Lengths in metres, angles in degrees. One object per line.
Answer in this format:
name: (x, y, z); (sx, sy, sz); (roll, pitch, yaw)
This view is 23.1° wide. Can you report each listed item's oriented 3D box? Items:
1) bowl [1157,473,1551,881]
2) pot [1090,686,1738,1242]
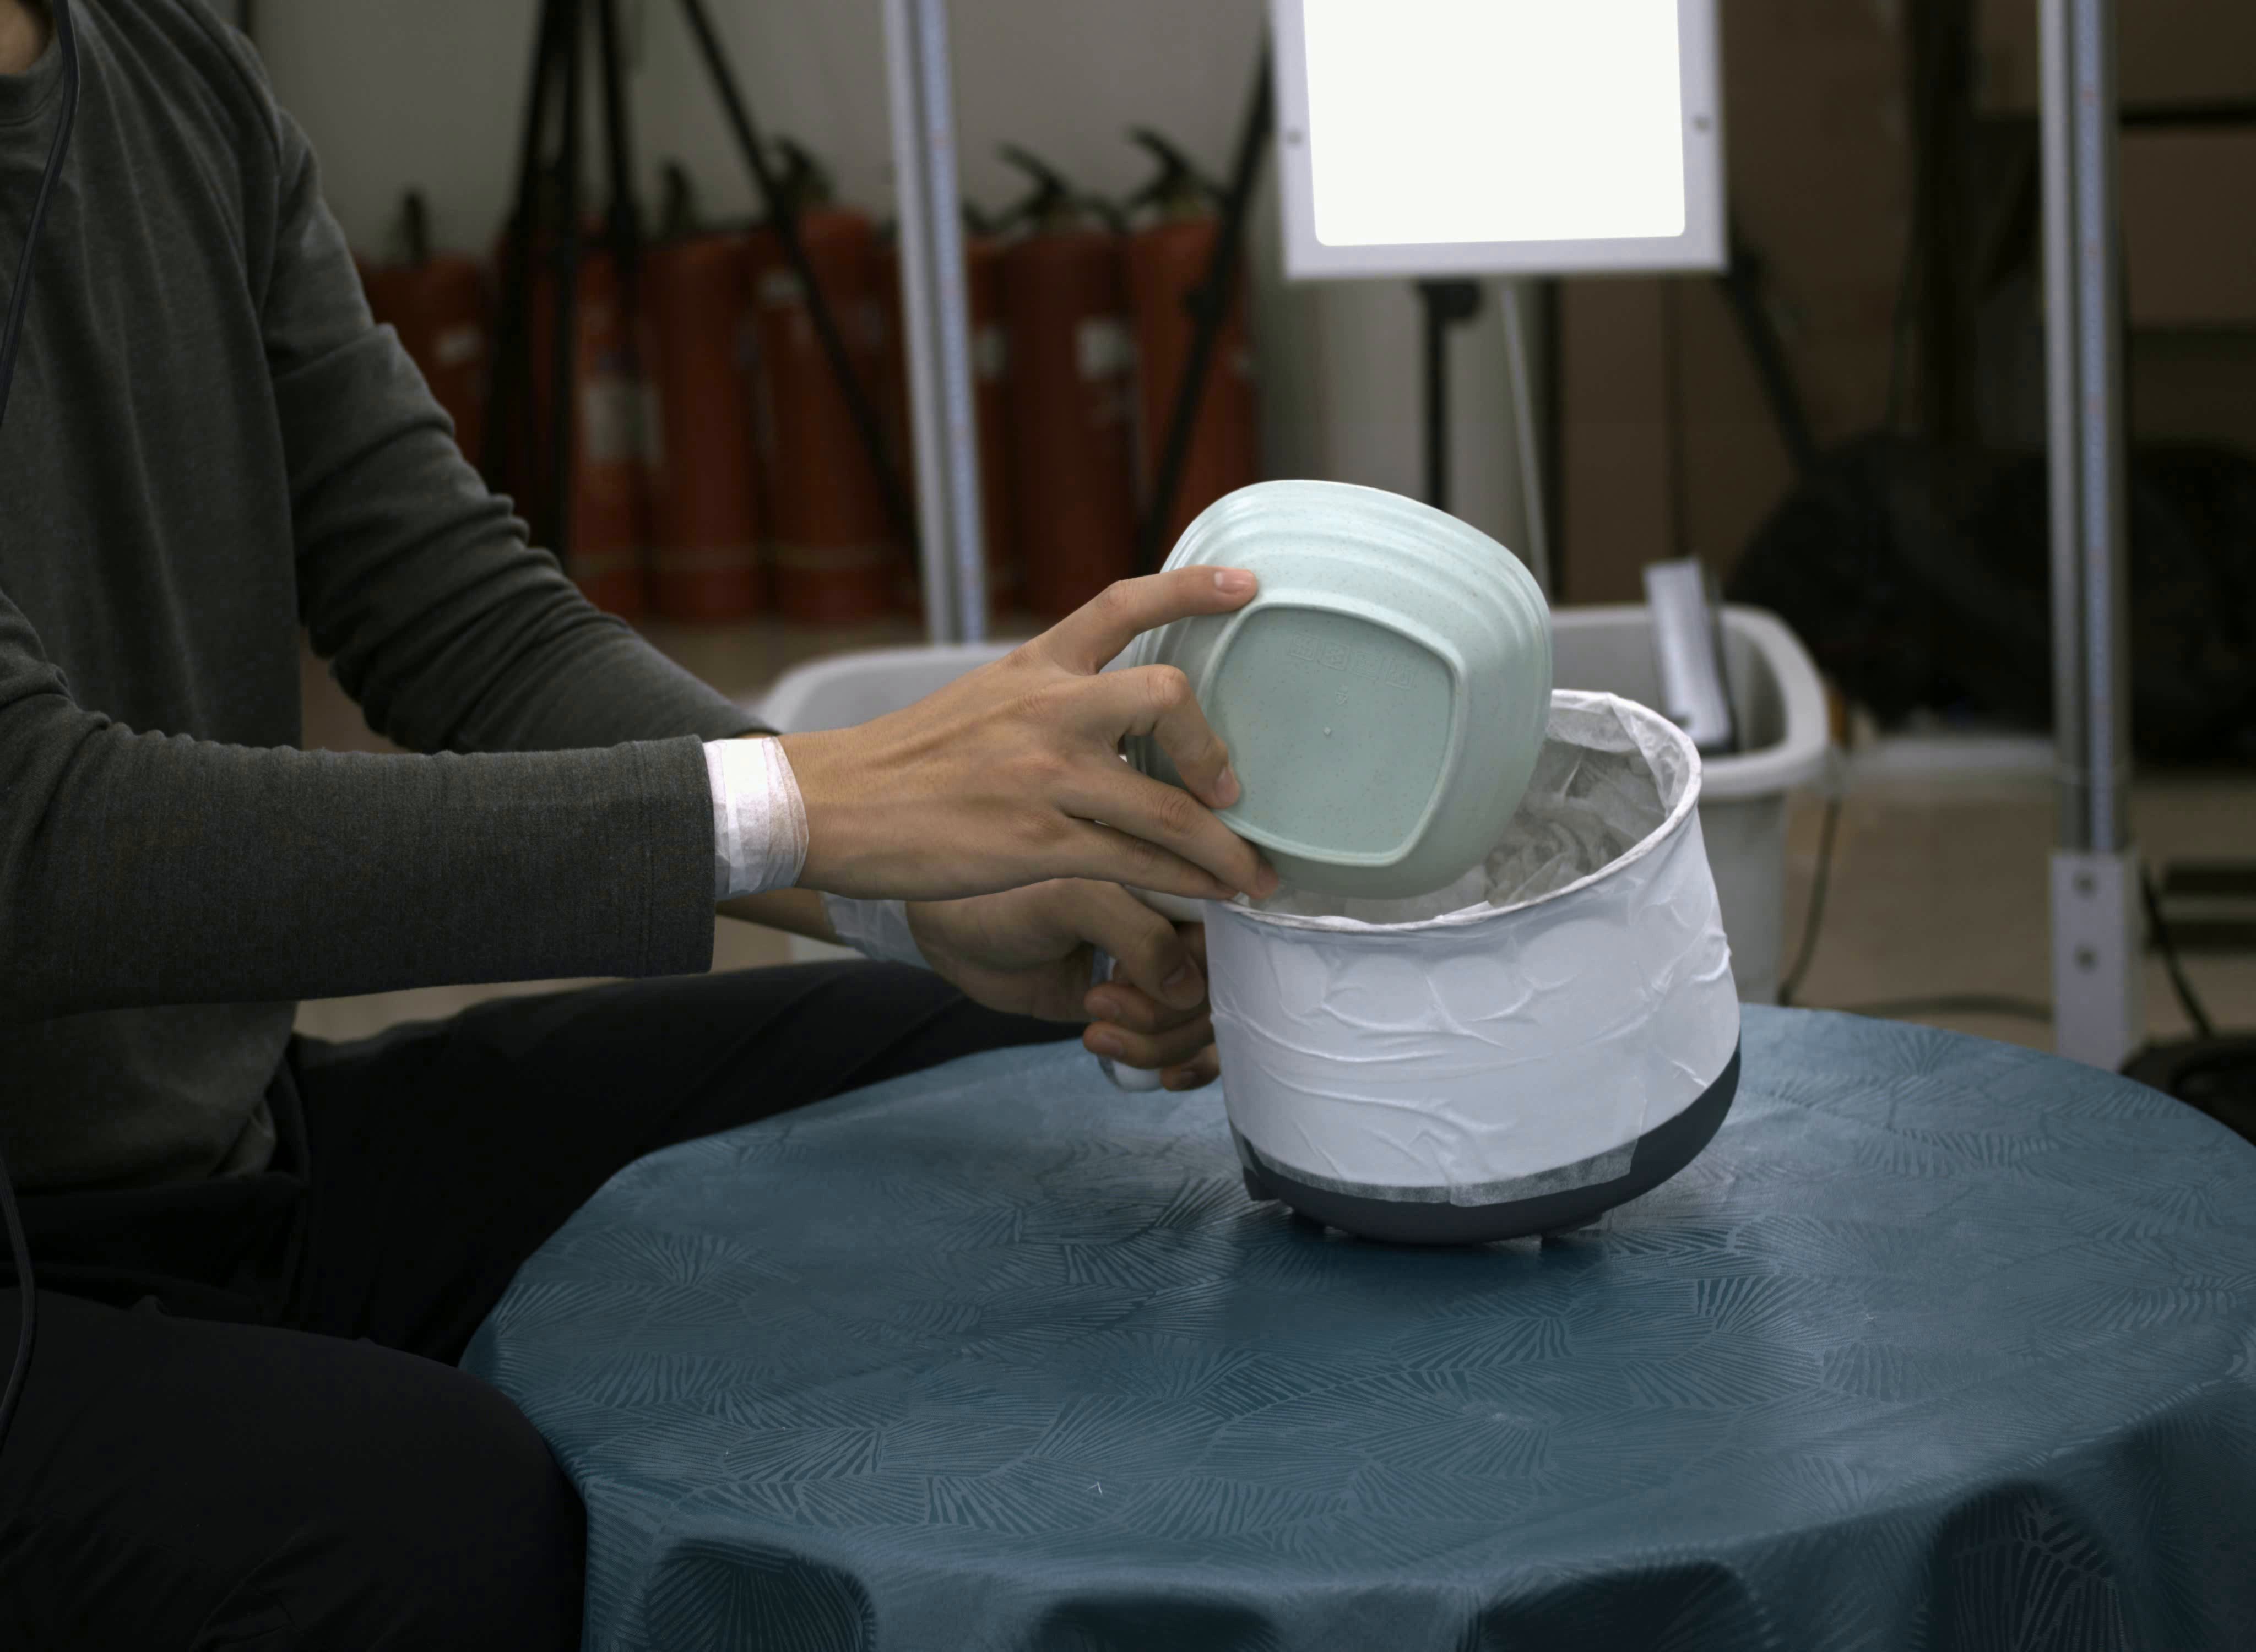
bowl: (0.065, -0.039, 1.812); (0.154, 0.152, 0.057); (4, 29, 30)
pot: (0.089, 0.046, 1.861); (0.238, 0.137, 0.175); (3, 28, 28)
